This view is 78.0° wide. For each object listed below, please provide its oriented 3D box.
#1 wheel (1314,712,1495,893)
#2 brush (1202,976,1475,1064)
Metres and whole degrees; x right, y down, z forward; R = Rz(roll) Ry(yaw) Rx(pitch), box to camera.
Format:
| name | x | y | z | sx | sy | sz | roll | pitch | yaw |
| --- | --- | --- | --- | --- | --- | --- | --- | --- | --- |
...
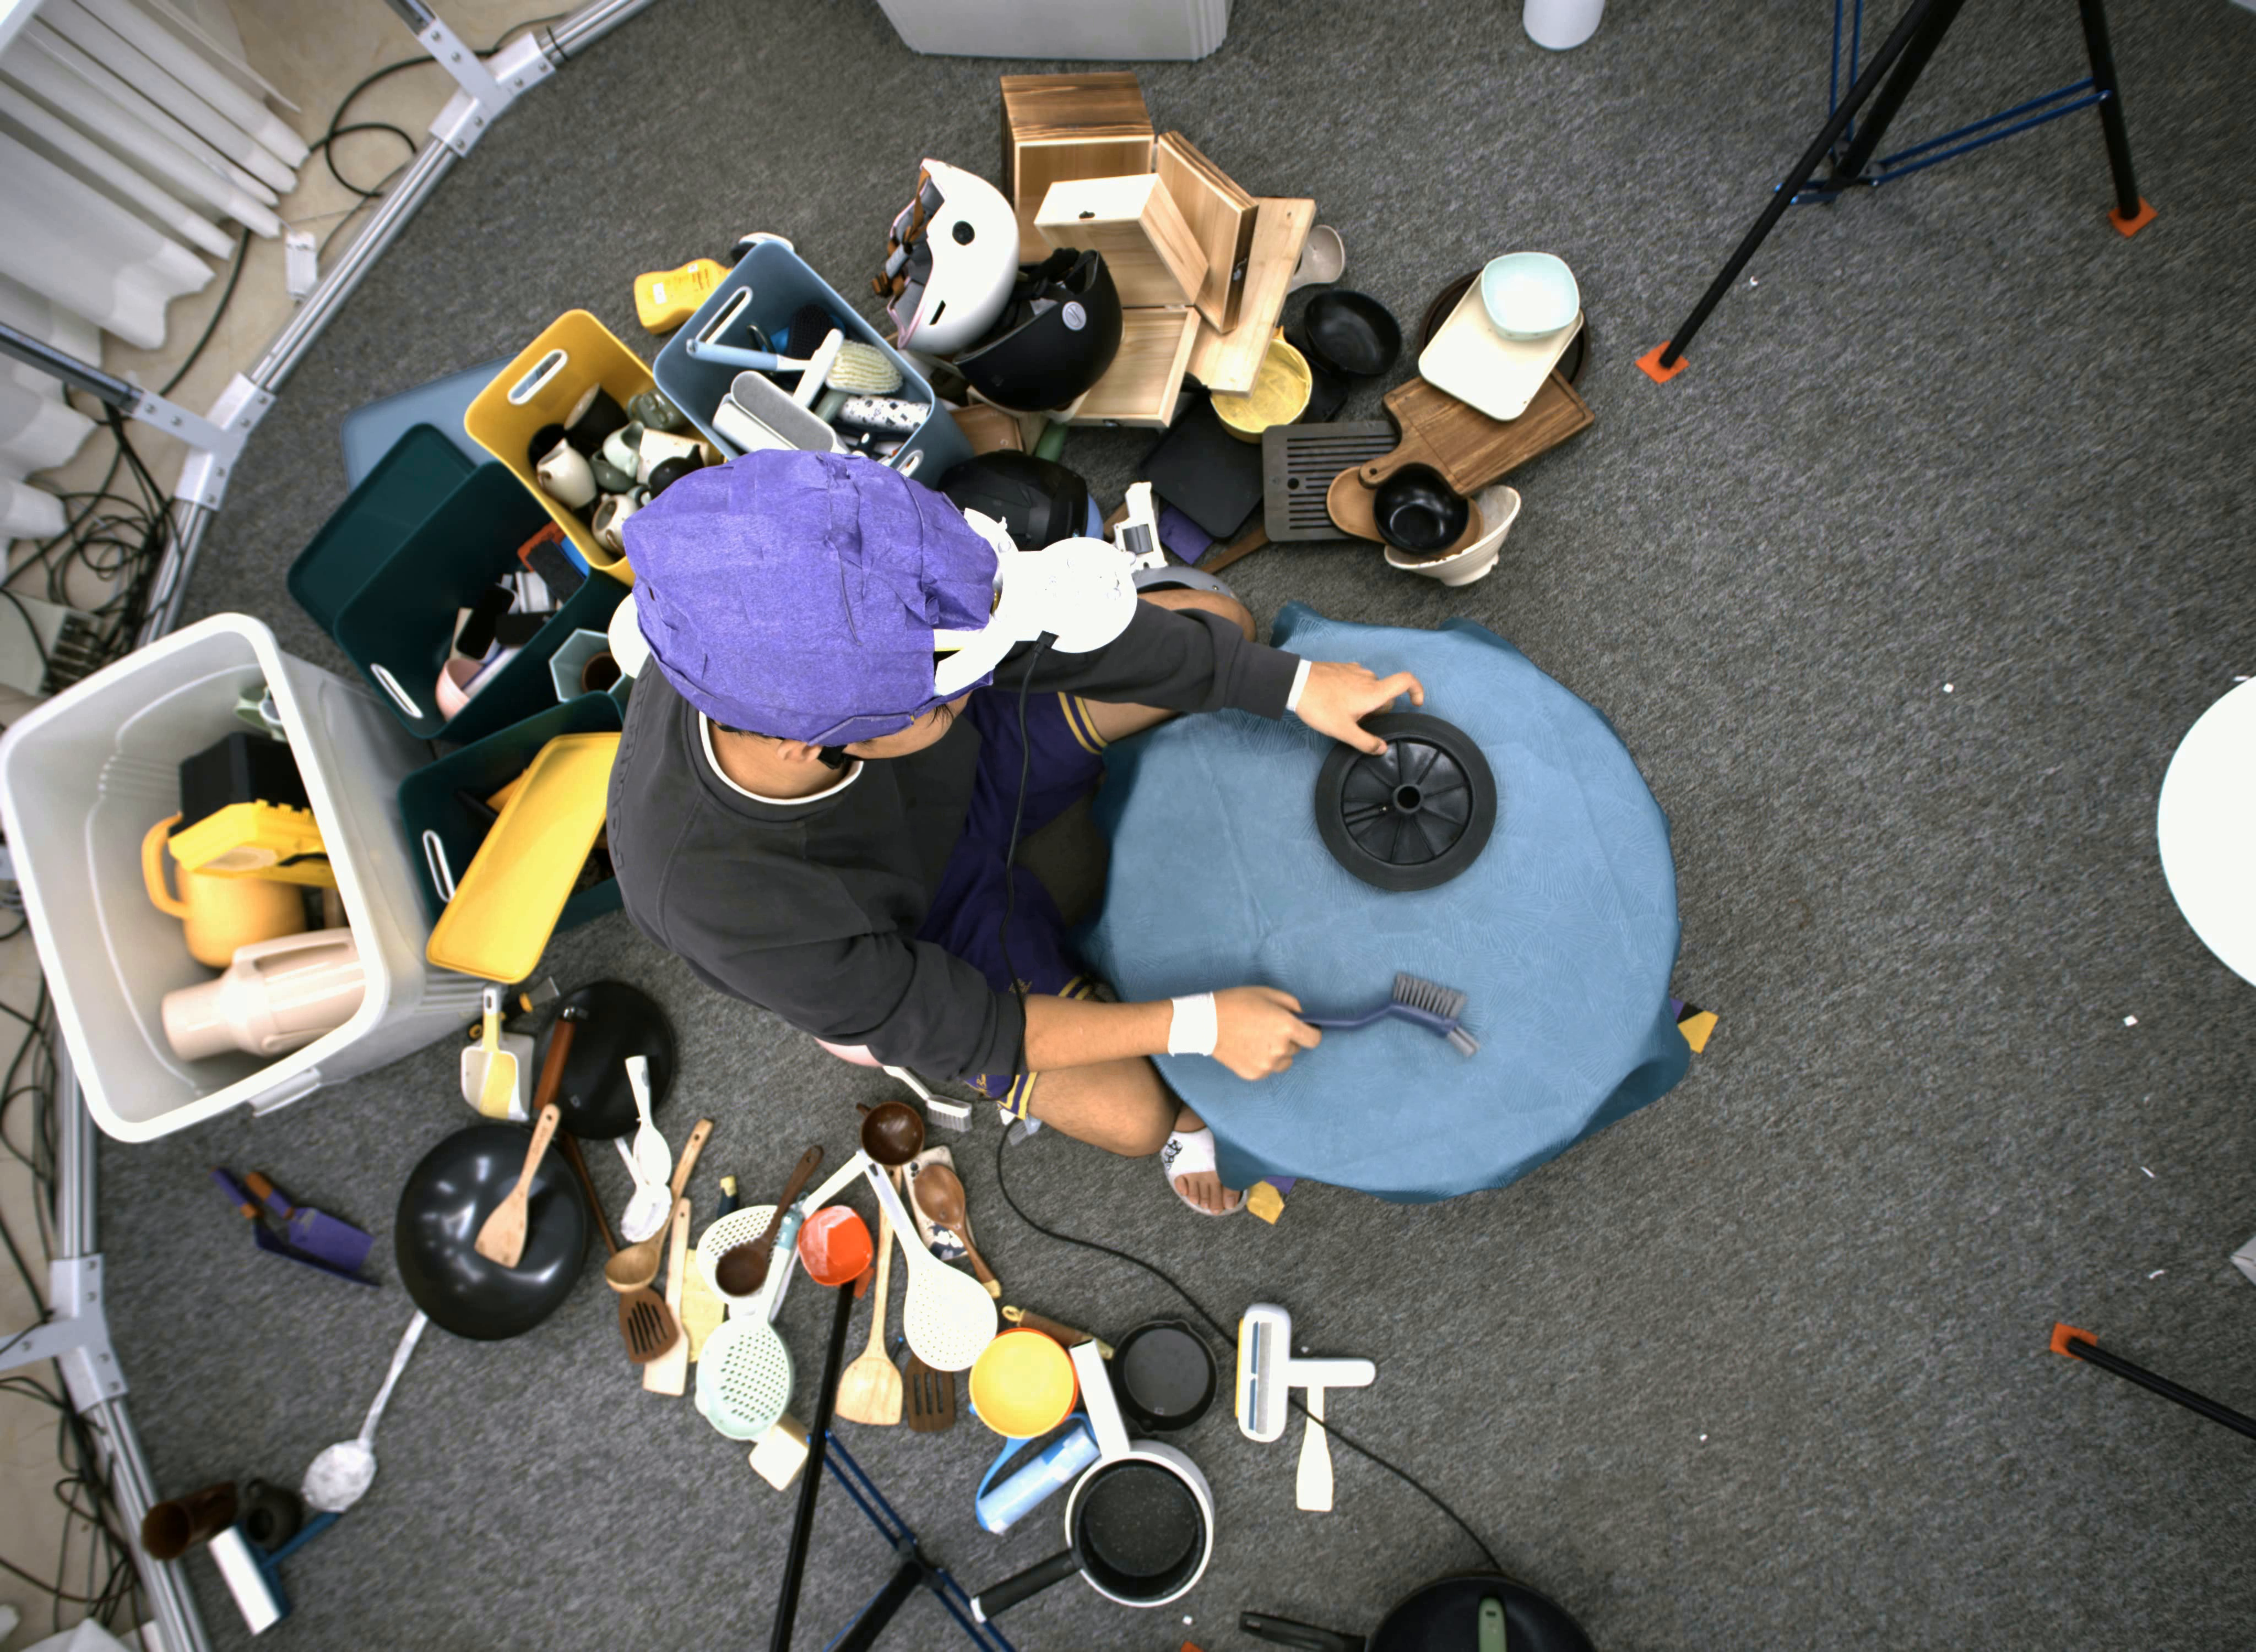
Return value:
| name | x | y | z | sx | sy | sz | roll | pitch | yaw |
| --- | --- | --- | --- | --- | --- | --- | --- | --- | --- |
| wheel | 0.286 | -0.027 | 1.423 | 0.191 | 0.079 | 0.187 | -42 | 84 | 7 |
| brush | 0.215 | 0.204 | 1.429 | 0.274 | 0.034 | 0.094 | -5 | 69 | 2 |
